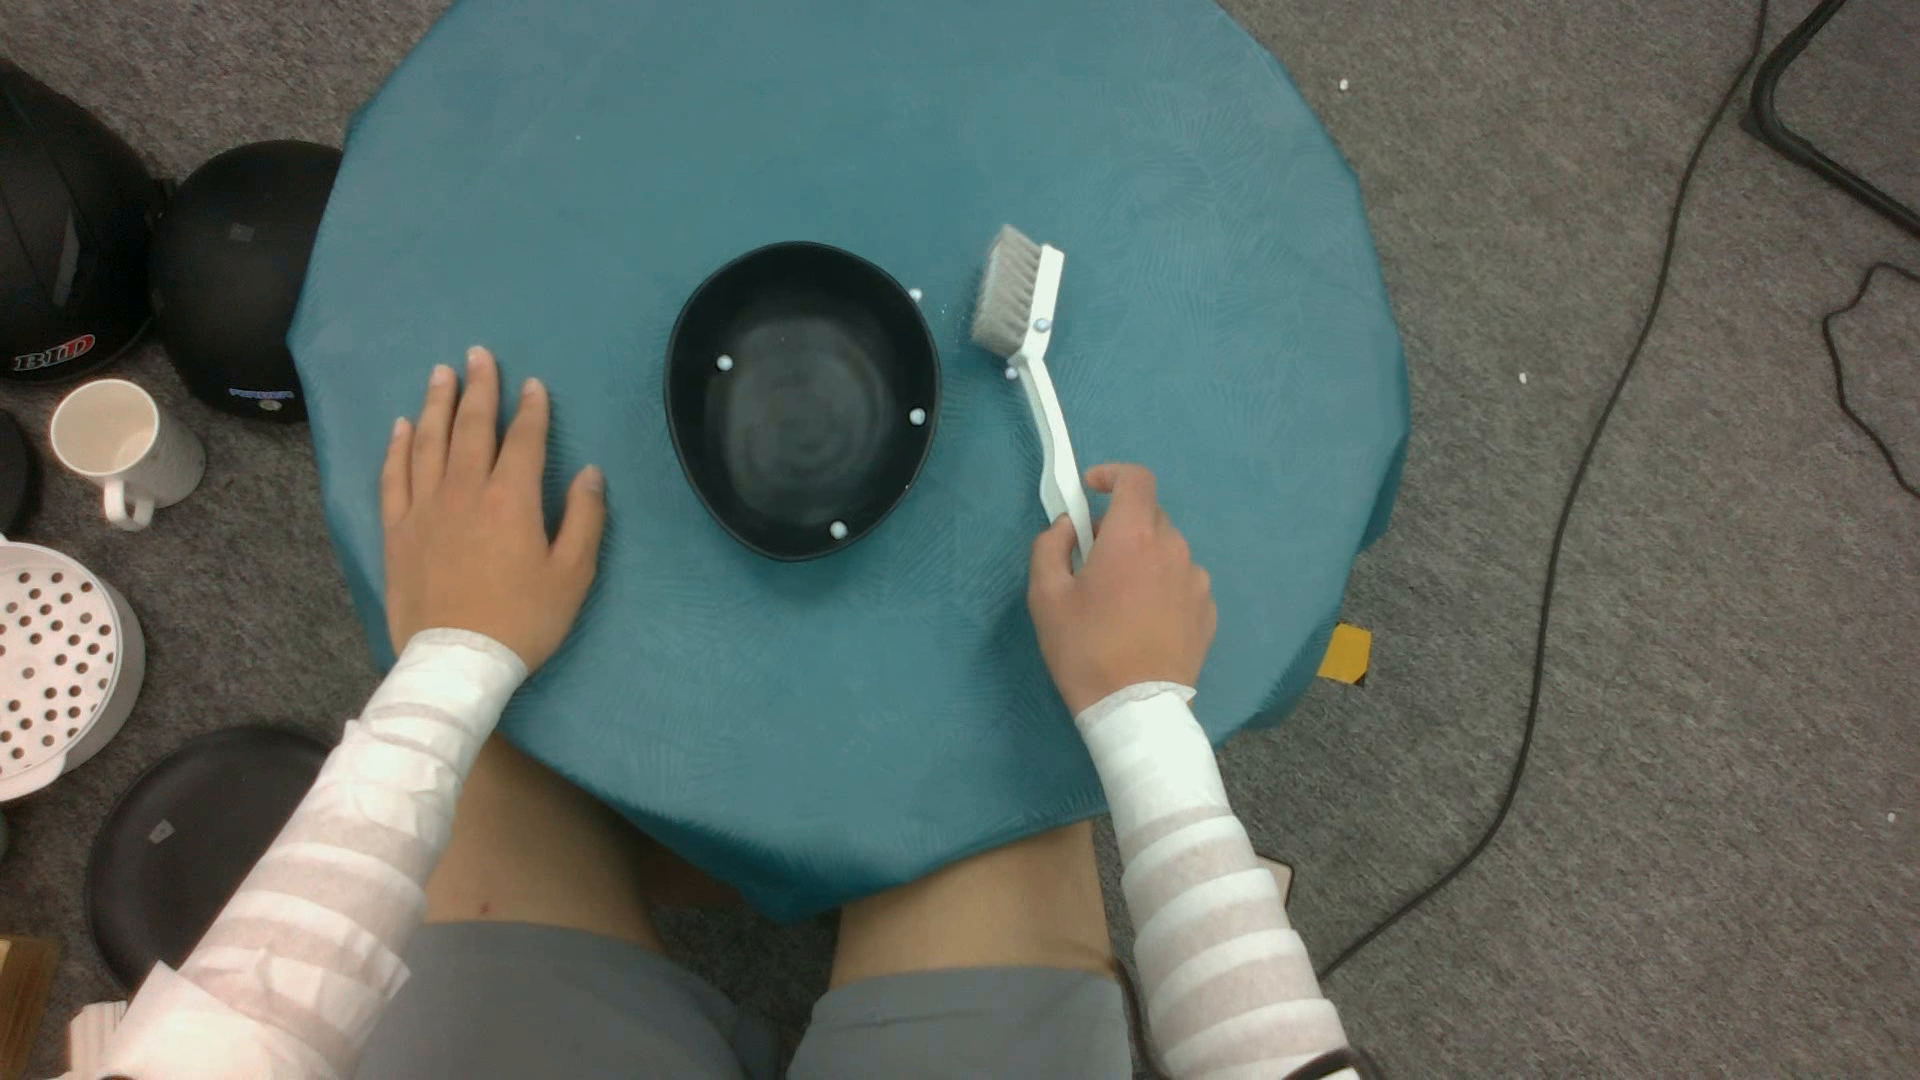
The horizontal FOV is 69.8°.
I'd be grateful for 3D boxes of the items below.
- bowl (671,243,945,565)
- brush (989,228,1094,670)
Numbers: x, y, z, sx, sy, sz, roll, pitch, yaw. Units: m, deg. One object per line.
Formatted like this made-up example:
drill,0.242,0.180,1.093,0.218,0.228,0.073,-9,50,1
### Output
bowl,-0.079,-0.067,0.722,0.137,0.066,0.170,1,76,-6
brush,0.043,-0.052,0.732,0.050,0.034,0.244,13,67,-36
